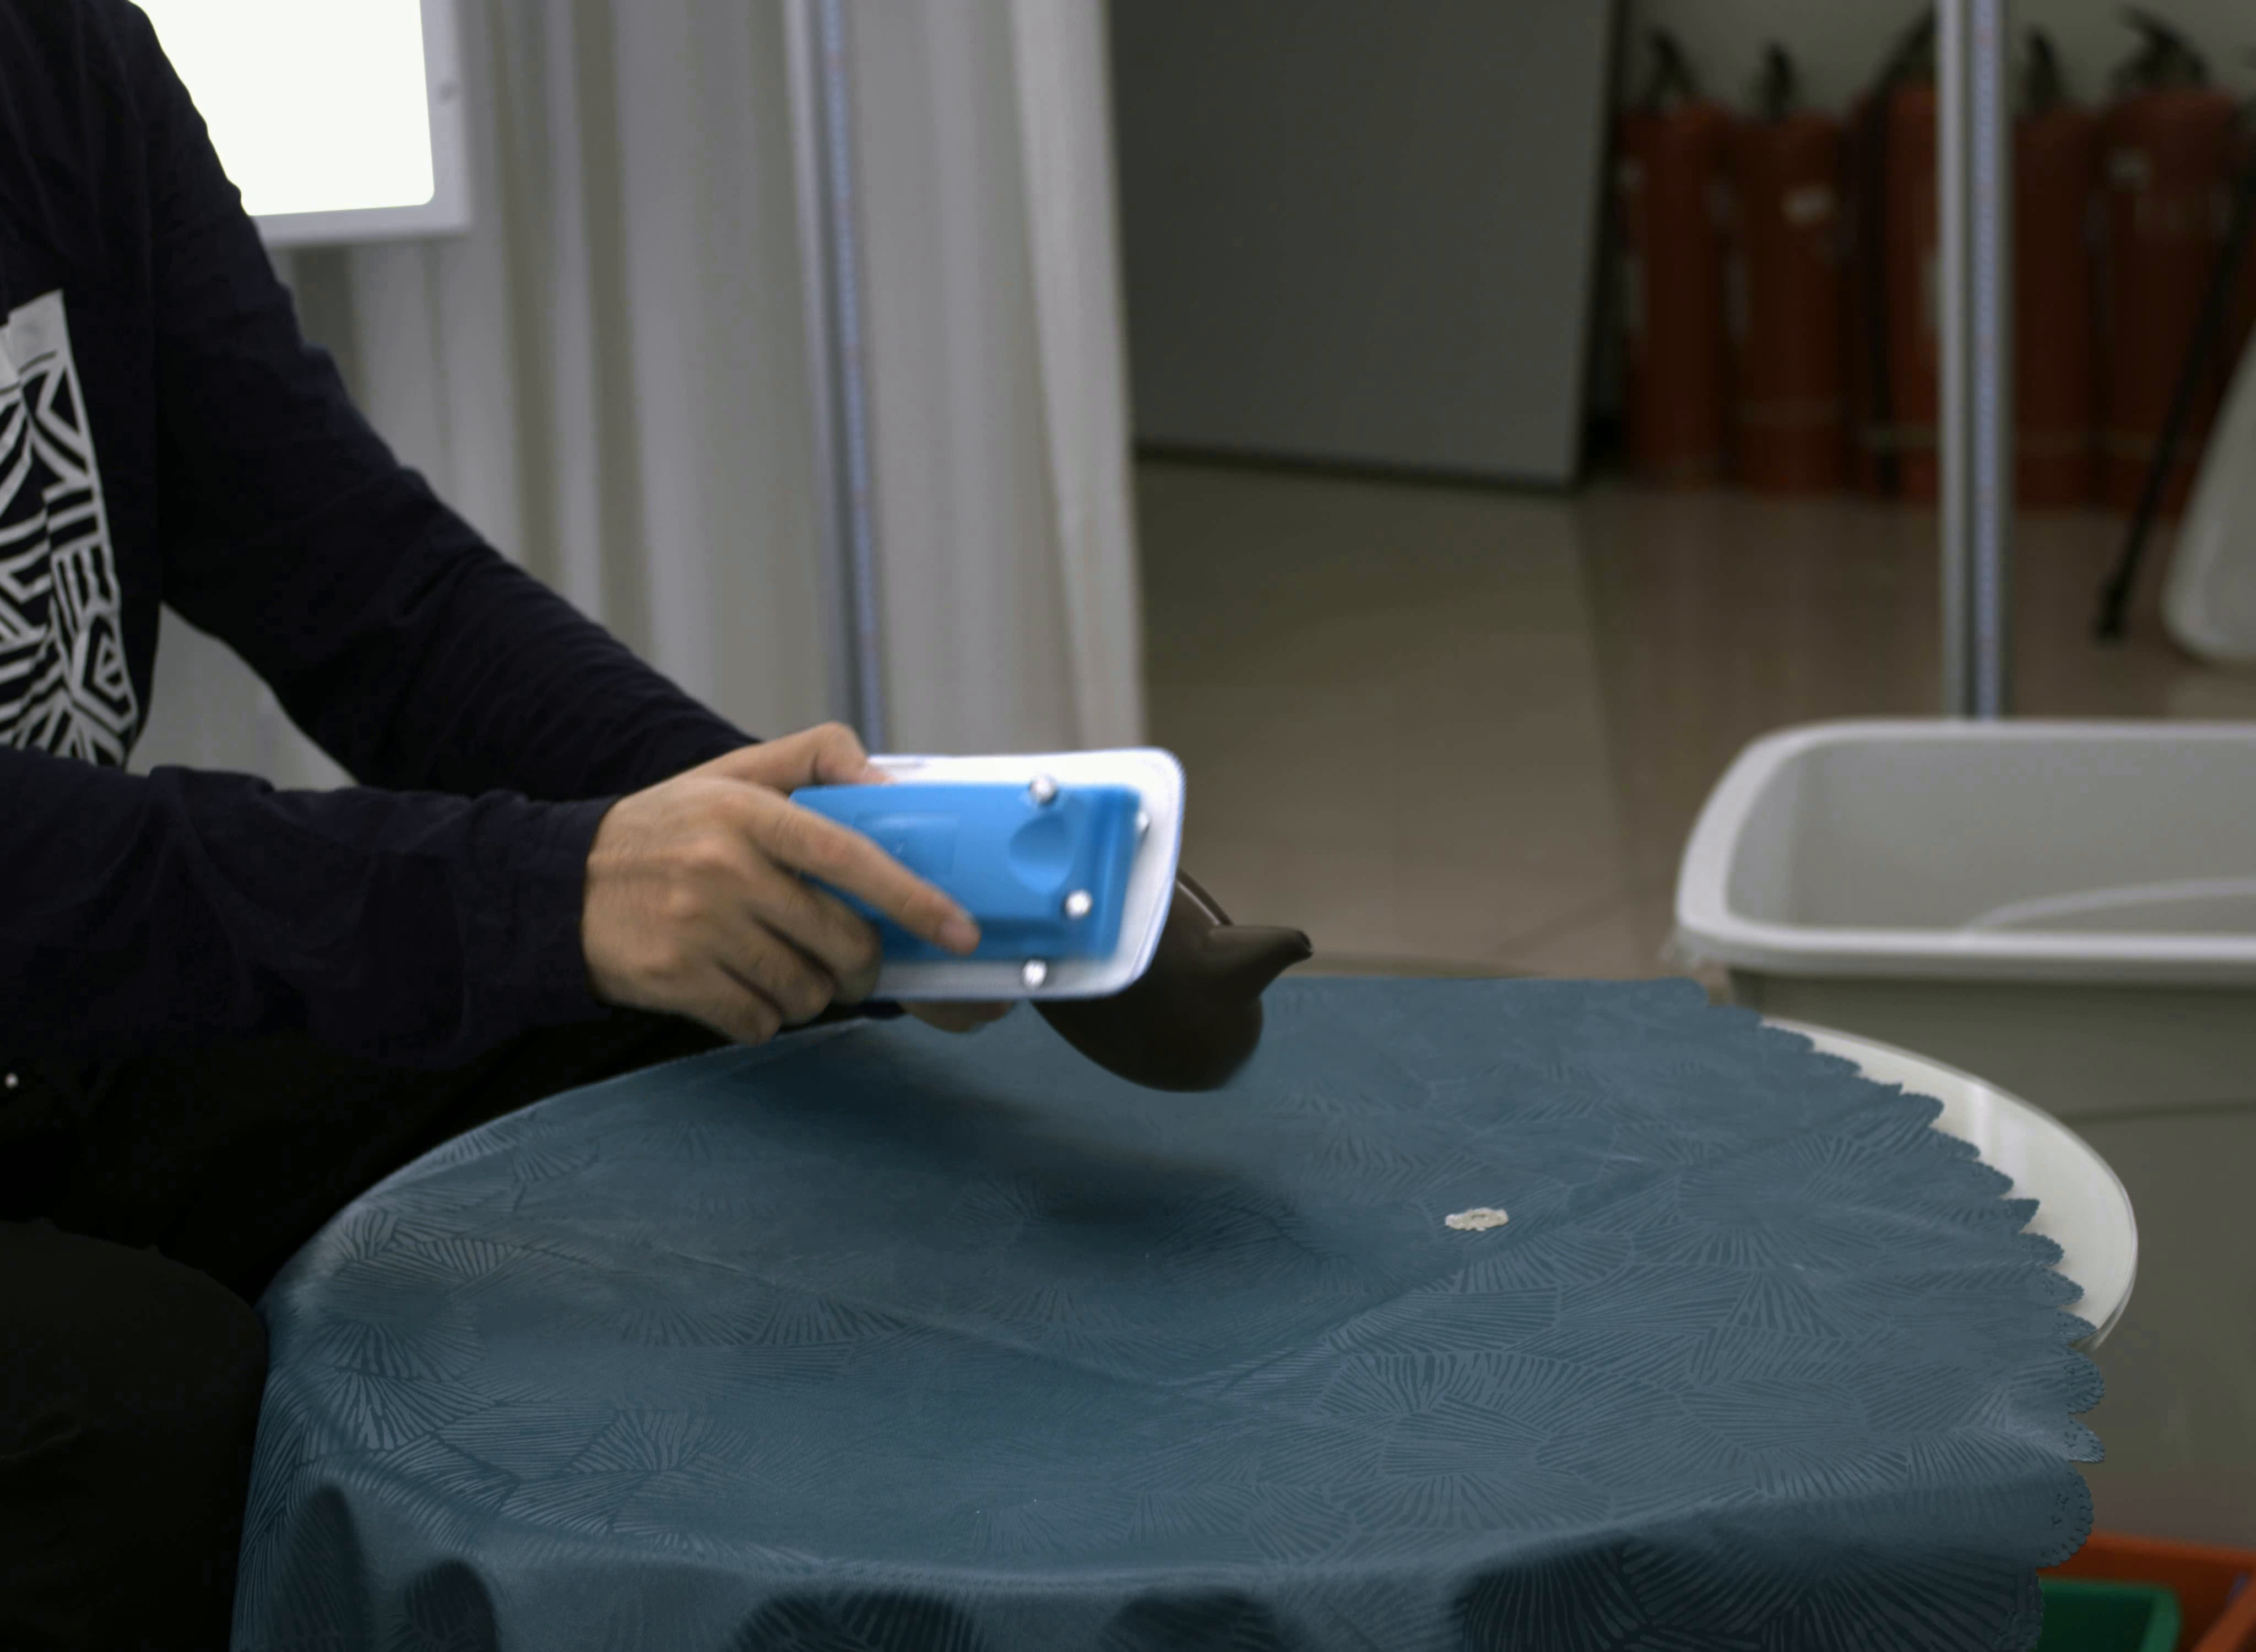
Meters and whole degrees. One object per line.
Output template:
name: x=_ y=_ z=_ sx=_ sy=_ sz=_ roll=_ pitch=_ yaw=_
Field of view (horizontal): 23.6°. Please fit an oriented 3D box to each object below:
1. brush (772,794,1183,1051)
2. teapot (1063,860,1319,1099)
brush: x=-0.054 y=0.025 z=1.680 sx=0.145 sy=0.084 sz=0.055 roll=3 pitch=-22 yaw=37
teapot: x=-0.001 y=0.044 z=1.780 sx=0.053 sy=0.102 sz=0.155 roll=-44 pitch=34 yaw=-23
